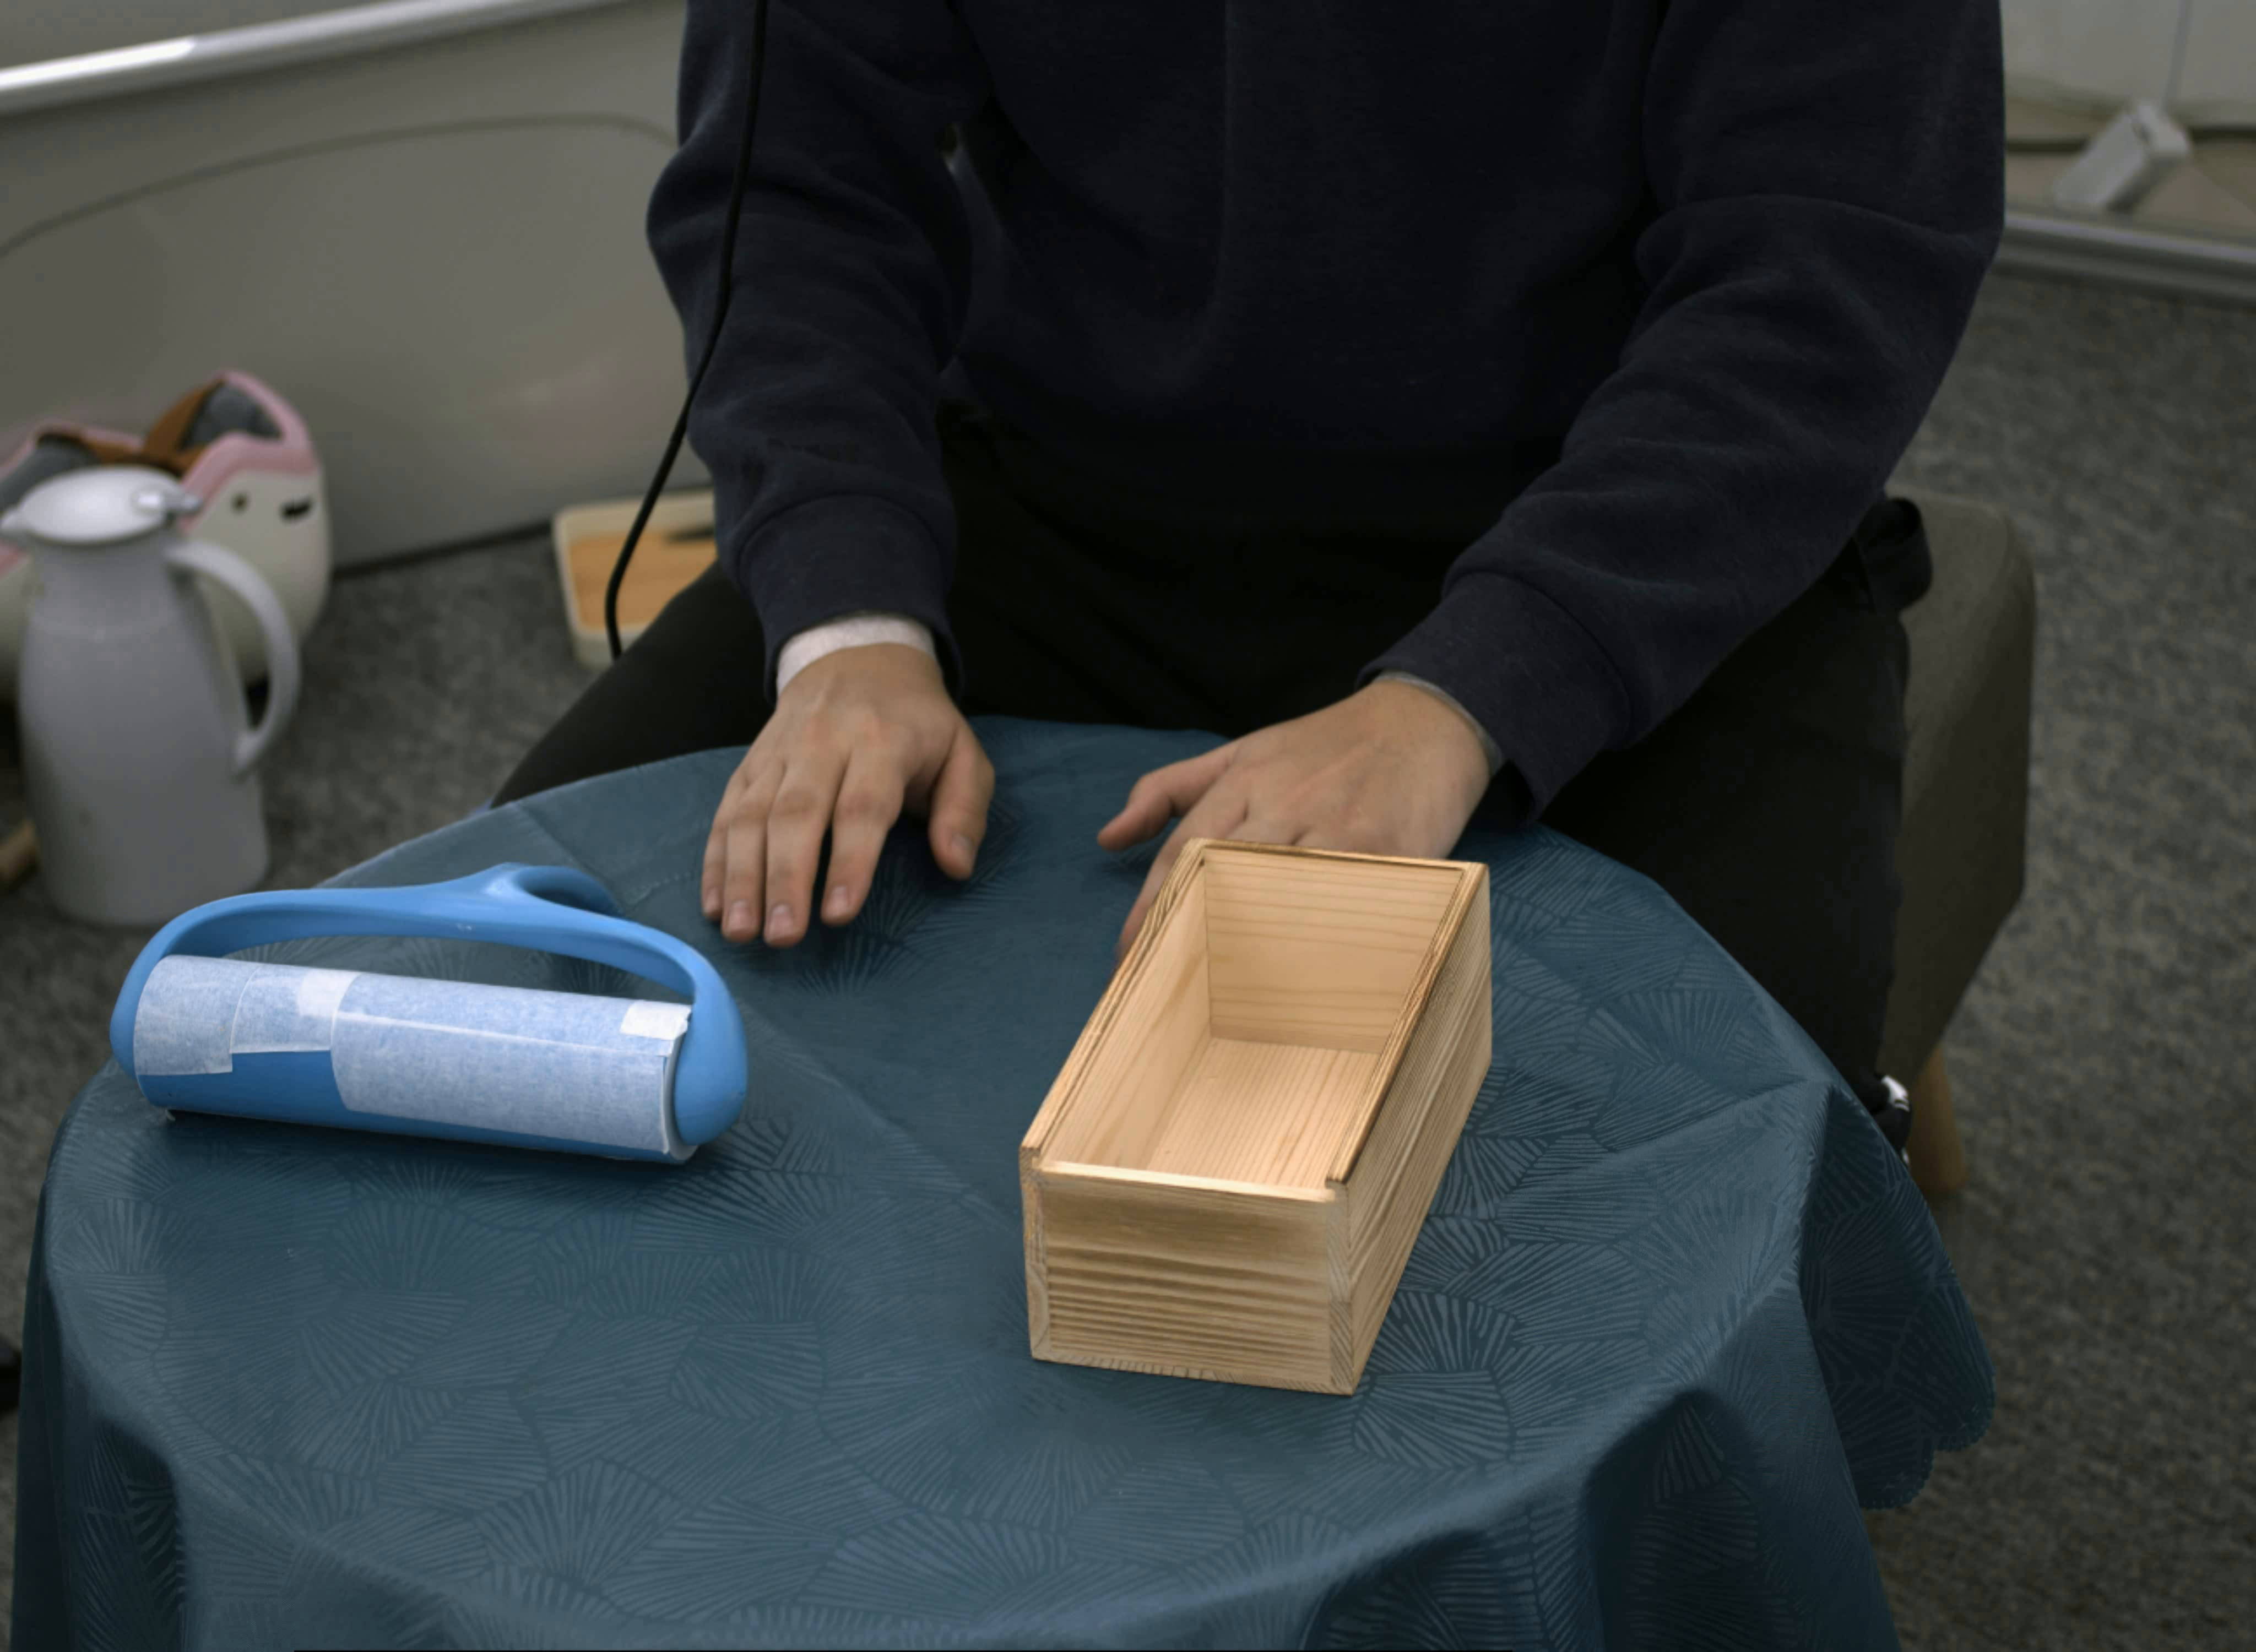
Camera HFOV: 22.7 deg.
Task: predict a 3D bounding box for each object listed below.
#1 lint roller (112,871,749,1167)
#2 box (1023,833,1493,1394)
[{"bbox_3d":[-0.224,0.050,1.958,0.227,0.067,0.183,3,29,14],"label":"lint roller"},{"bbox_3d":[0.046,0.090,1.836,0.107,0.079,0.215,5,28,14],"label":"box"}]
